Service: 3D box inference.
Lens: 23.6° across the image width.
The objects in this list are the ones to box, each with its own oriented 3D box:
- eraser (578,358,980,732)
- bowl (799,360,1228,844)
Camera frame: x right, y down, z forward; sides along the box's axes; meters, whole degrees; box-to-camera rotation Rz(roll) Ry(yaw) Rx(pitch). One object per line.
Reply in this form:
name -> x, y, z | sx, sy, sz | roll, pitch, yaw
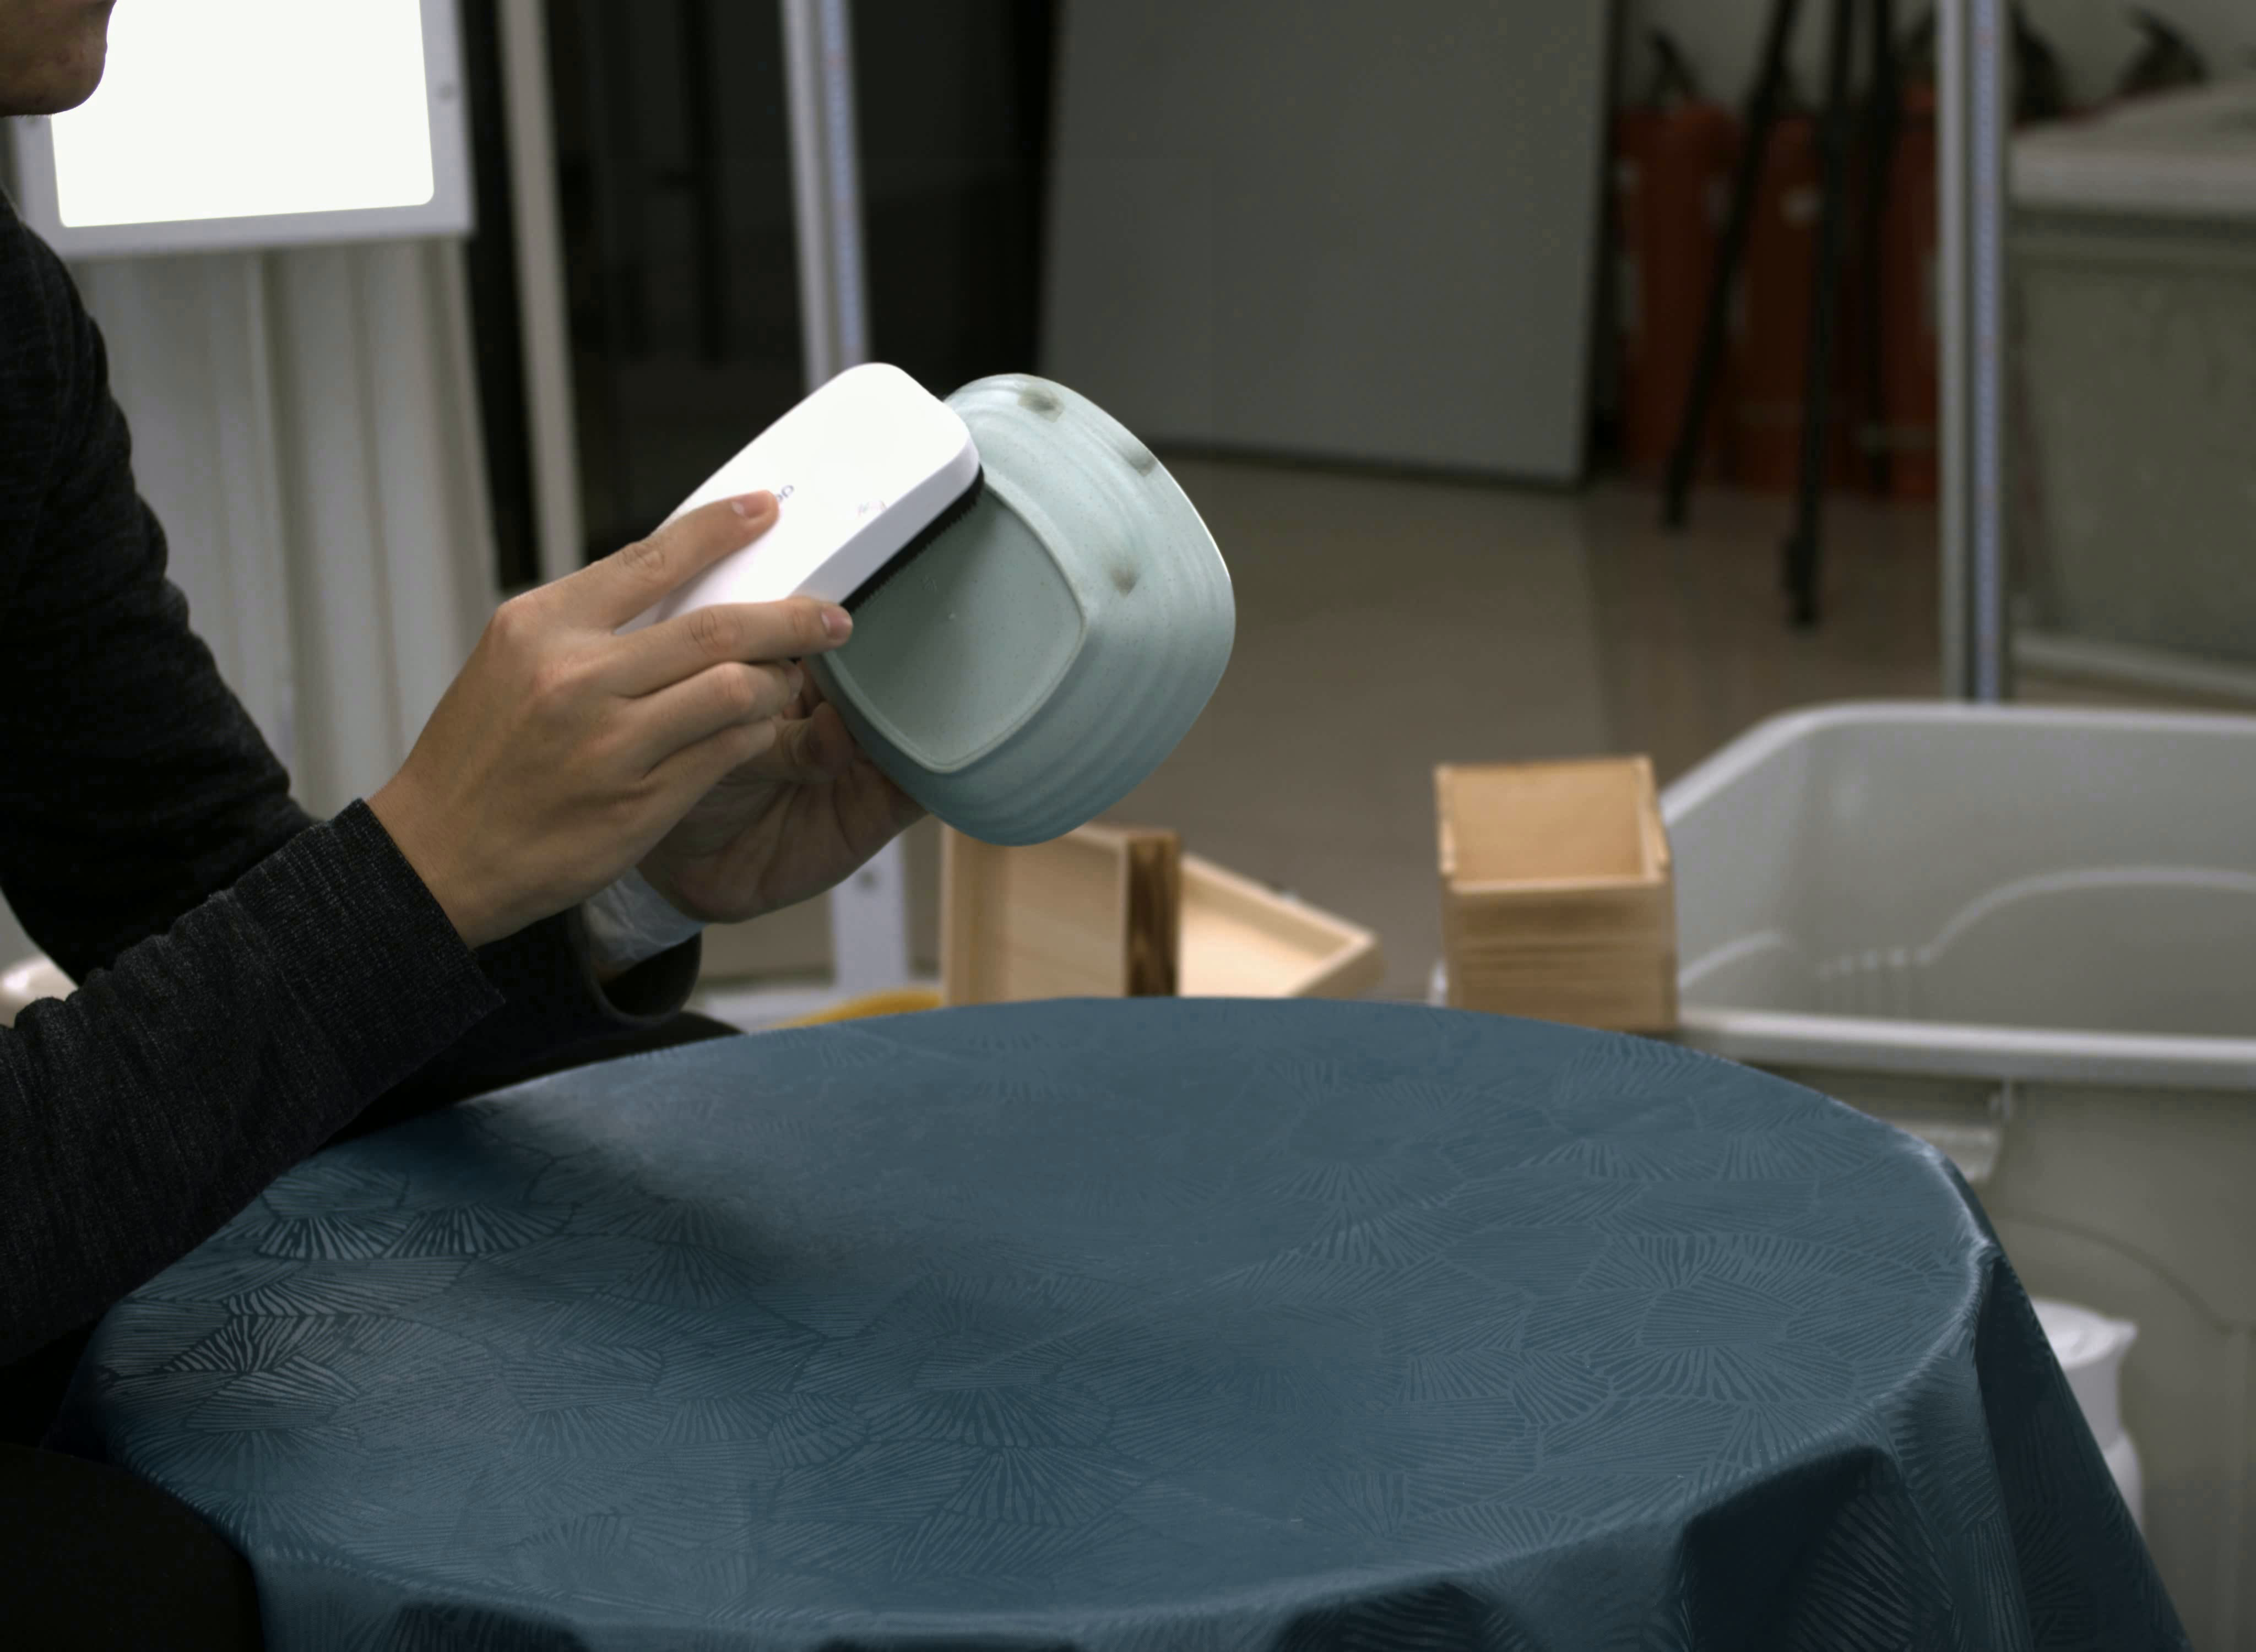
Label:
eraser -> -0.107, -0.088, 1.645 | 0.130, 0.034, 0.064 | -42, 46, -8
bowl -> -0.048, -0.068, 1.688 | 0.151, 0.153, 0.058 | 3, 6, 25
